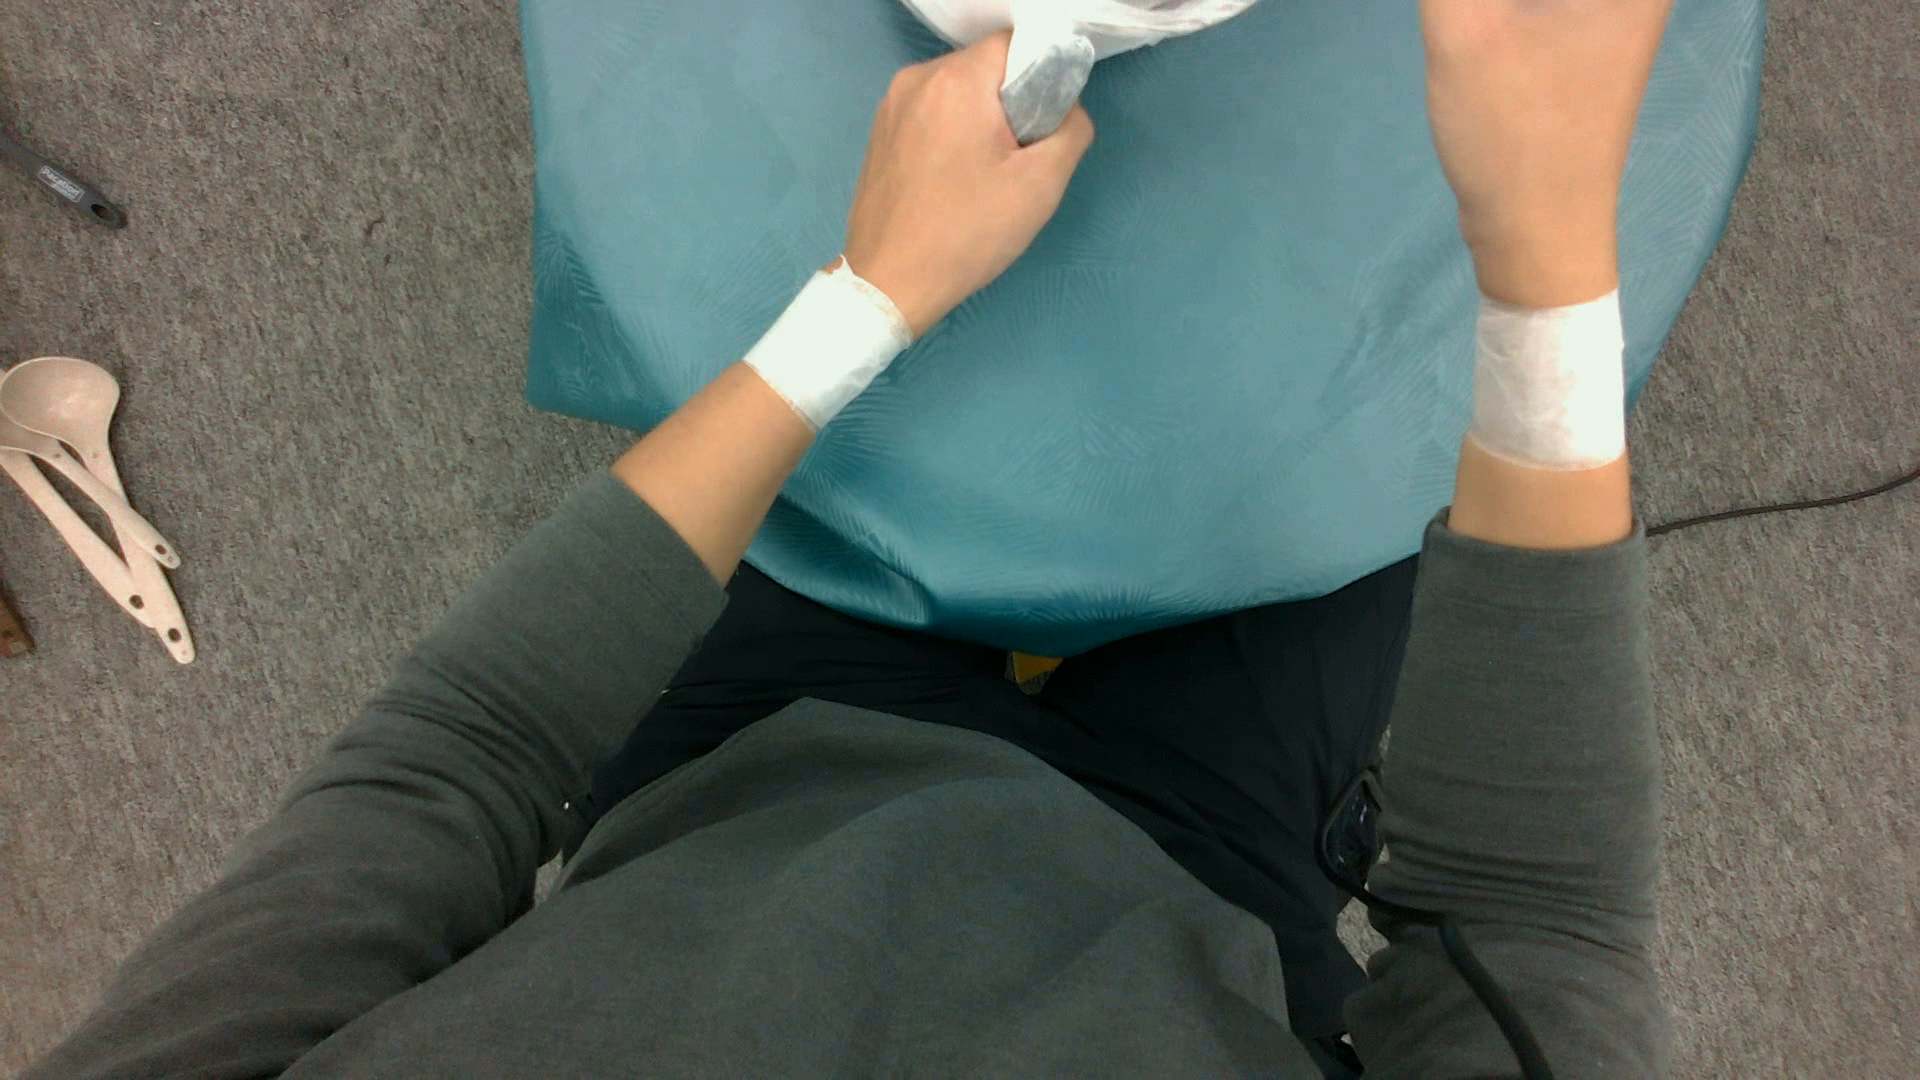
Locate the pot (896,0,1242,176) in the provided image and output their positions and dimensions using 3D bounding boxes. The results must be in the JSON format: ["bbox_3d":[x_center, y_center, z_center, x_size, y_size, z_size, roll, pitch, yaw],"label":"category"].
[{"bbox_3d":[0.036,-0.269,0.576,0.179,0.136,0.233,13,96,-25],"label":"pot"}]
